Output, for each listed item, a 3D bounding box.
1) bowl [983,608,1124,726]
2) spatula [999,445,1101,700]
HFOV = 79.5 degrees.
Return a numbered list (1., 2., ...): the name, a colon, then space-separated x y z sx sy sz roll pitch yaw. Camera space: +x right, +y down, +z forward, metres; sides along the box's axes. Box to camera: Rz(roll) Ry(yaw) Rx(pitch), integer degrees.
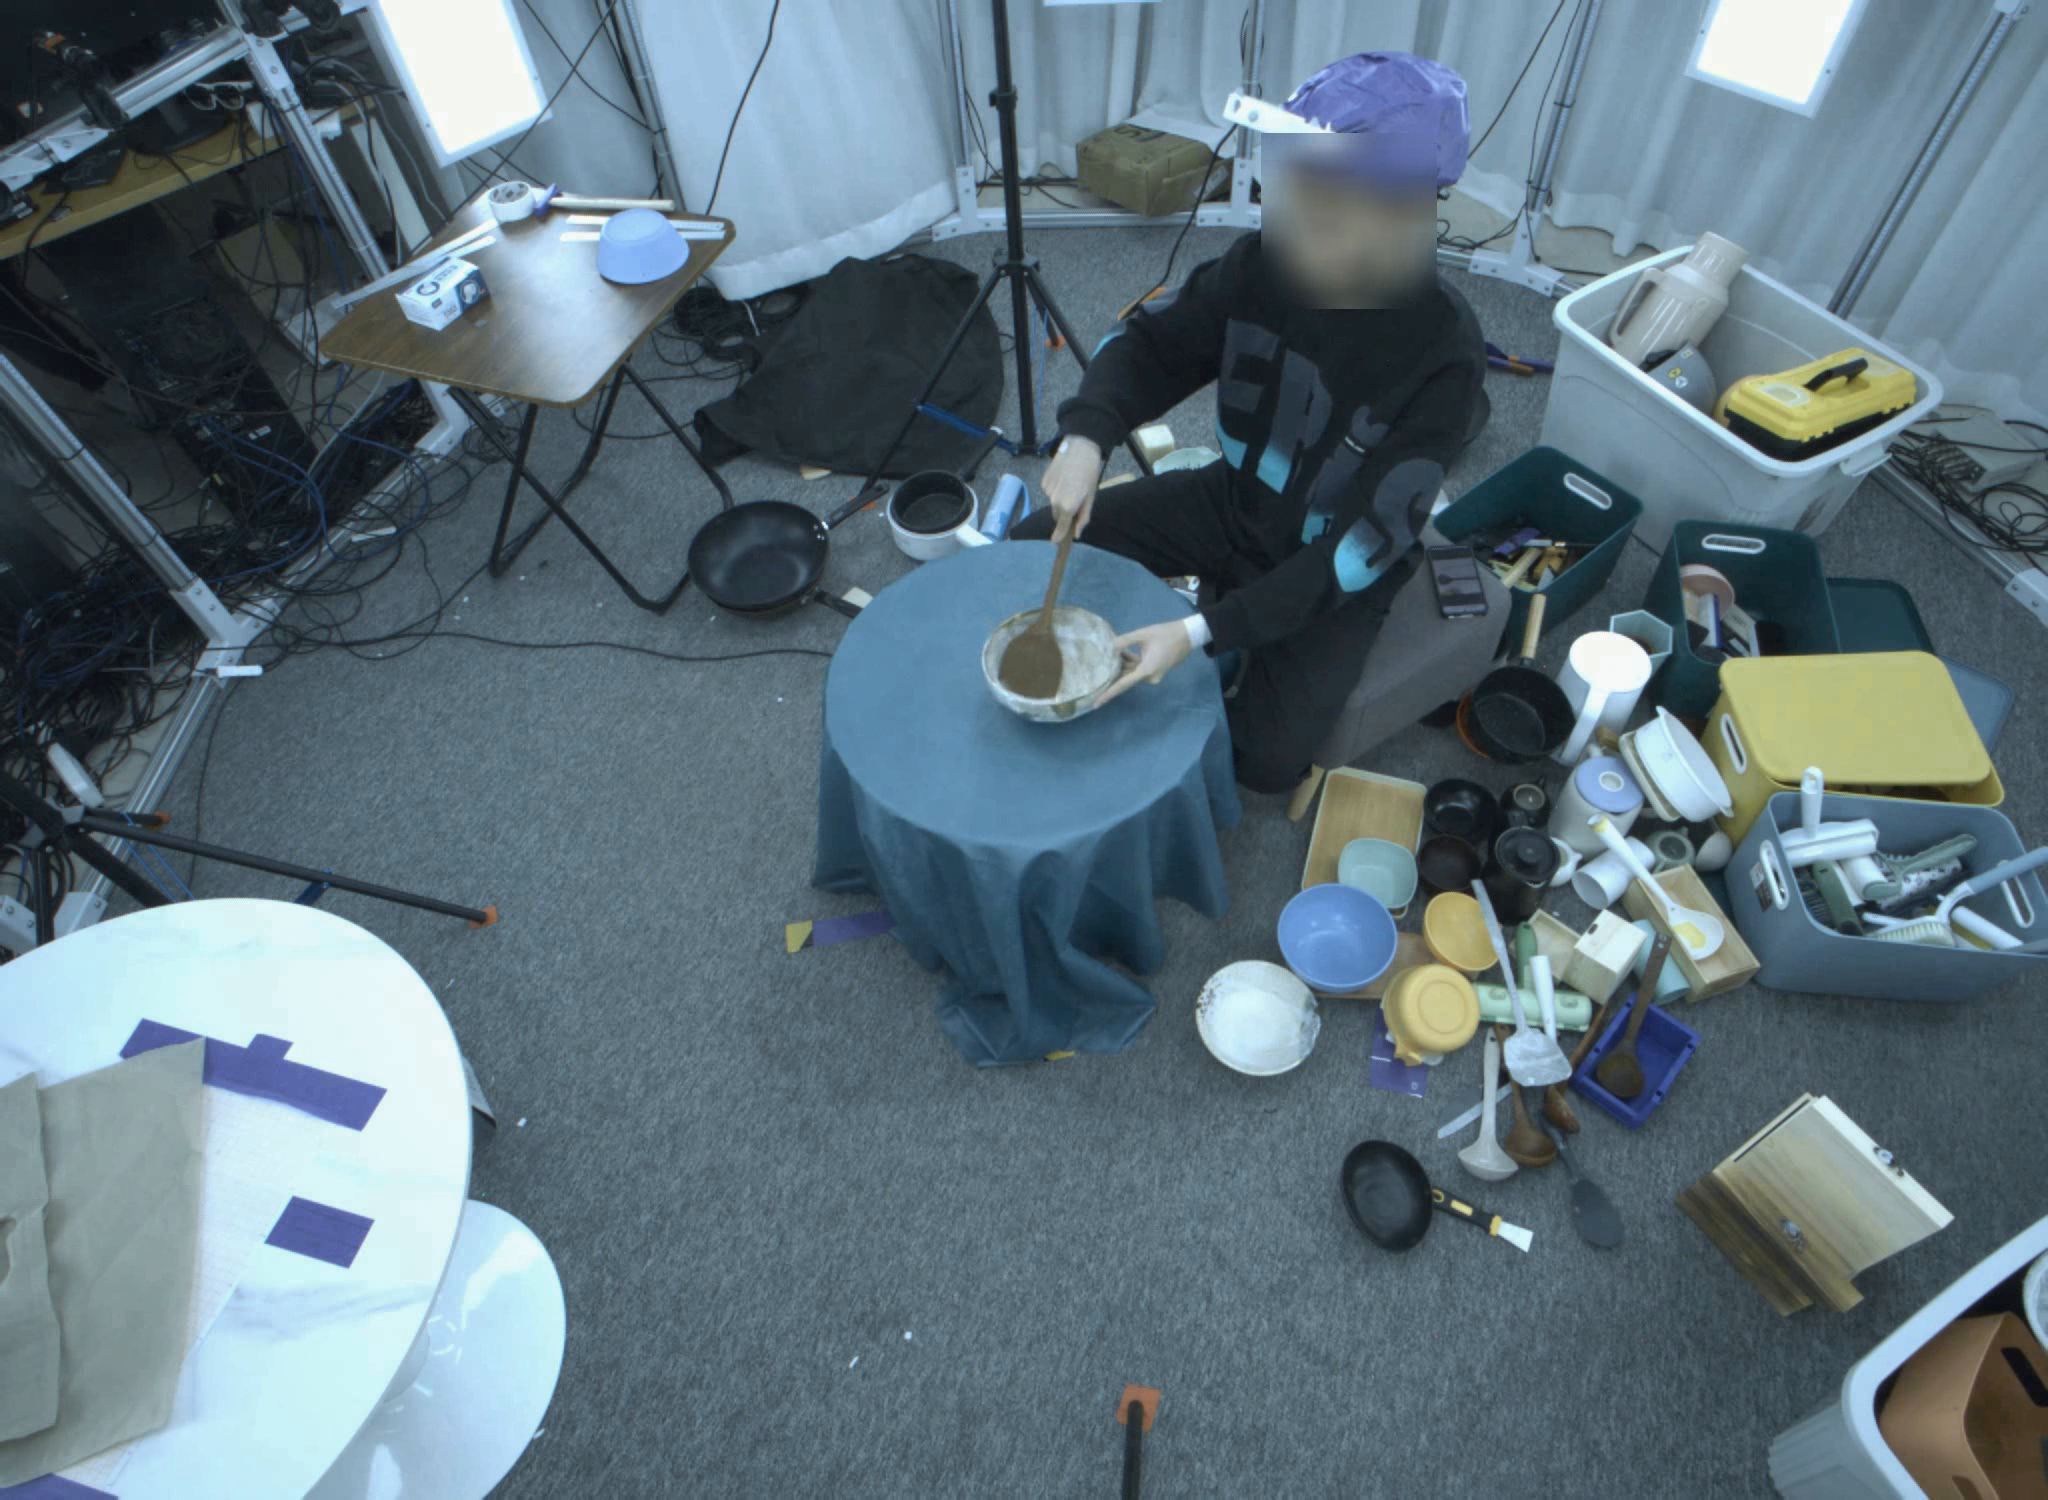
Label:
1. bowl: 0.048 -0.106 1.812 0.214 0.096 0.212 -2 49 3
2. spatula: 0.052 -0.261 1.806 0.097 0.386 0.015 13 11 -9
